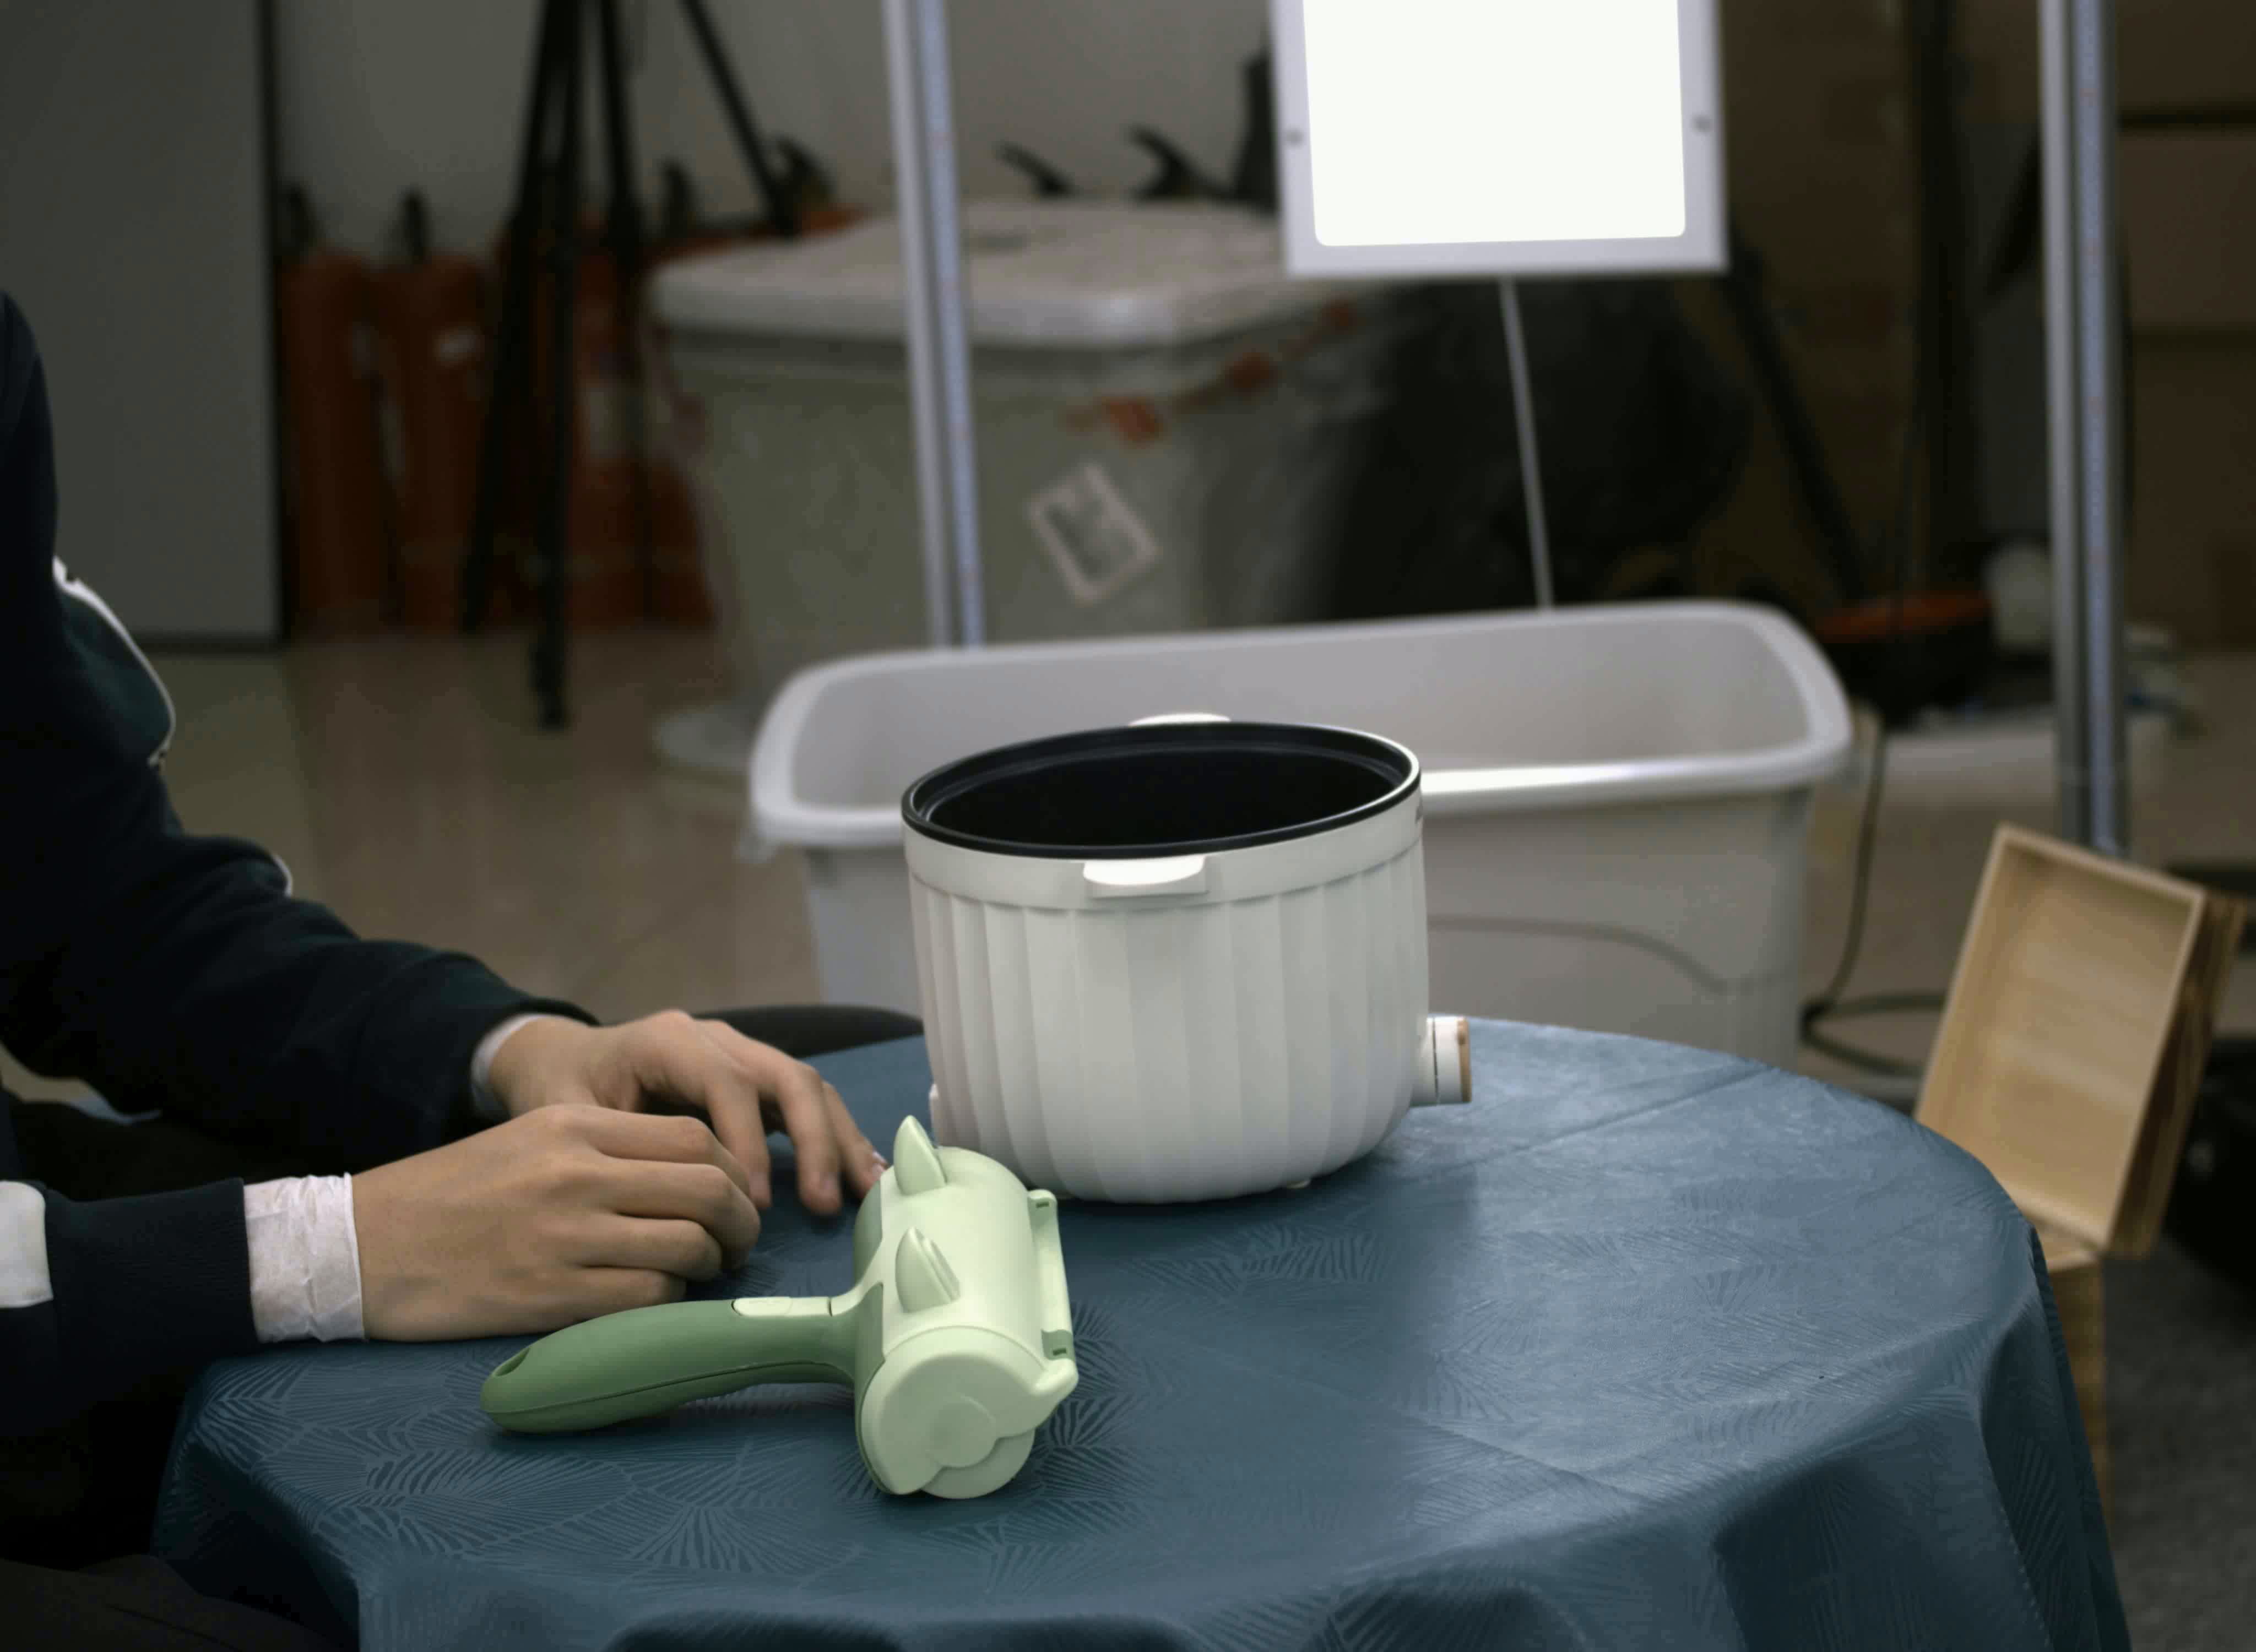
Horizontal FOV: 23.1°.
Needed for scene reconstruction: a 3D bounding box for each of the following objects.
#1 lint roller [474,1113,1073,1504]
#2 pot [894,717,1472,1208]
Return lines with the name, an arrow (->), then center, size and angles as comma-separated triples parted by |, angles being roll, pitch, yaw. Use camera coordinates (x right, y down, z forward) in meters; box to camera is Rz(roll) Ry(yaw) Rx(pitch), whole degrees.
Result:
lint roller -> -0.111, 0.145, 1.703 | 0.183, 0.082, 0.198 | 0, 14, -1
pot -> 0.020, 0.049, 1.914 | 0.191, 0.143, 0.239 | -7, 15, 6
